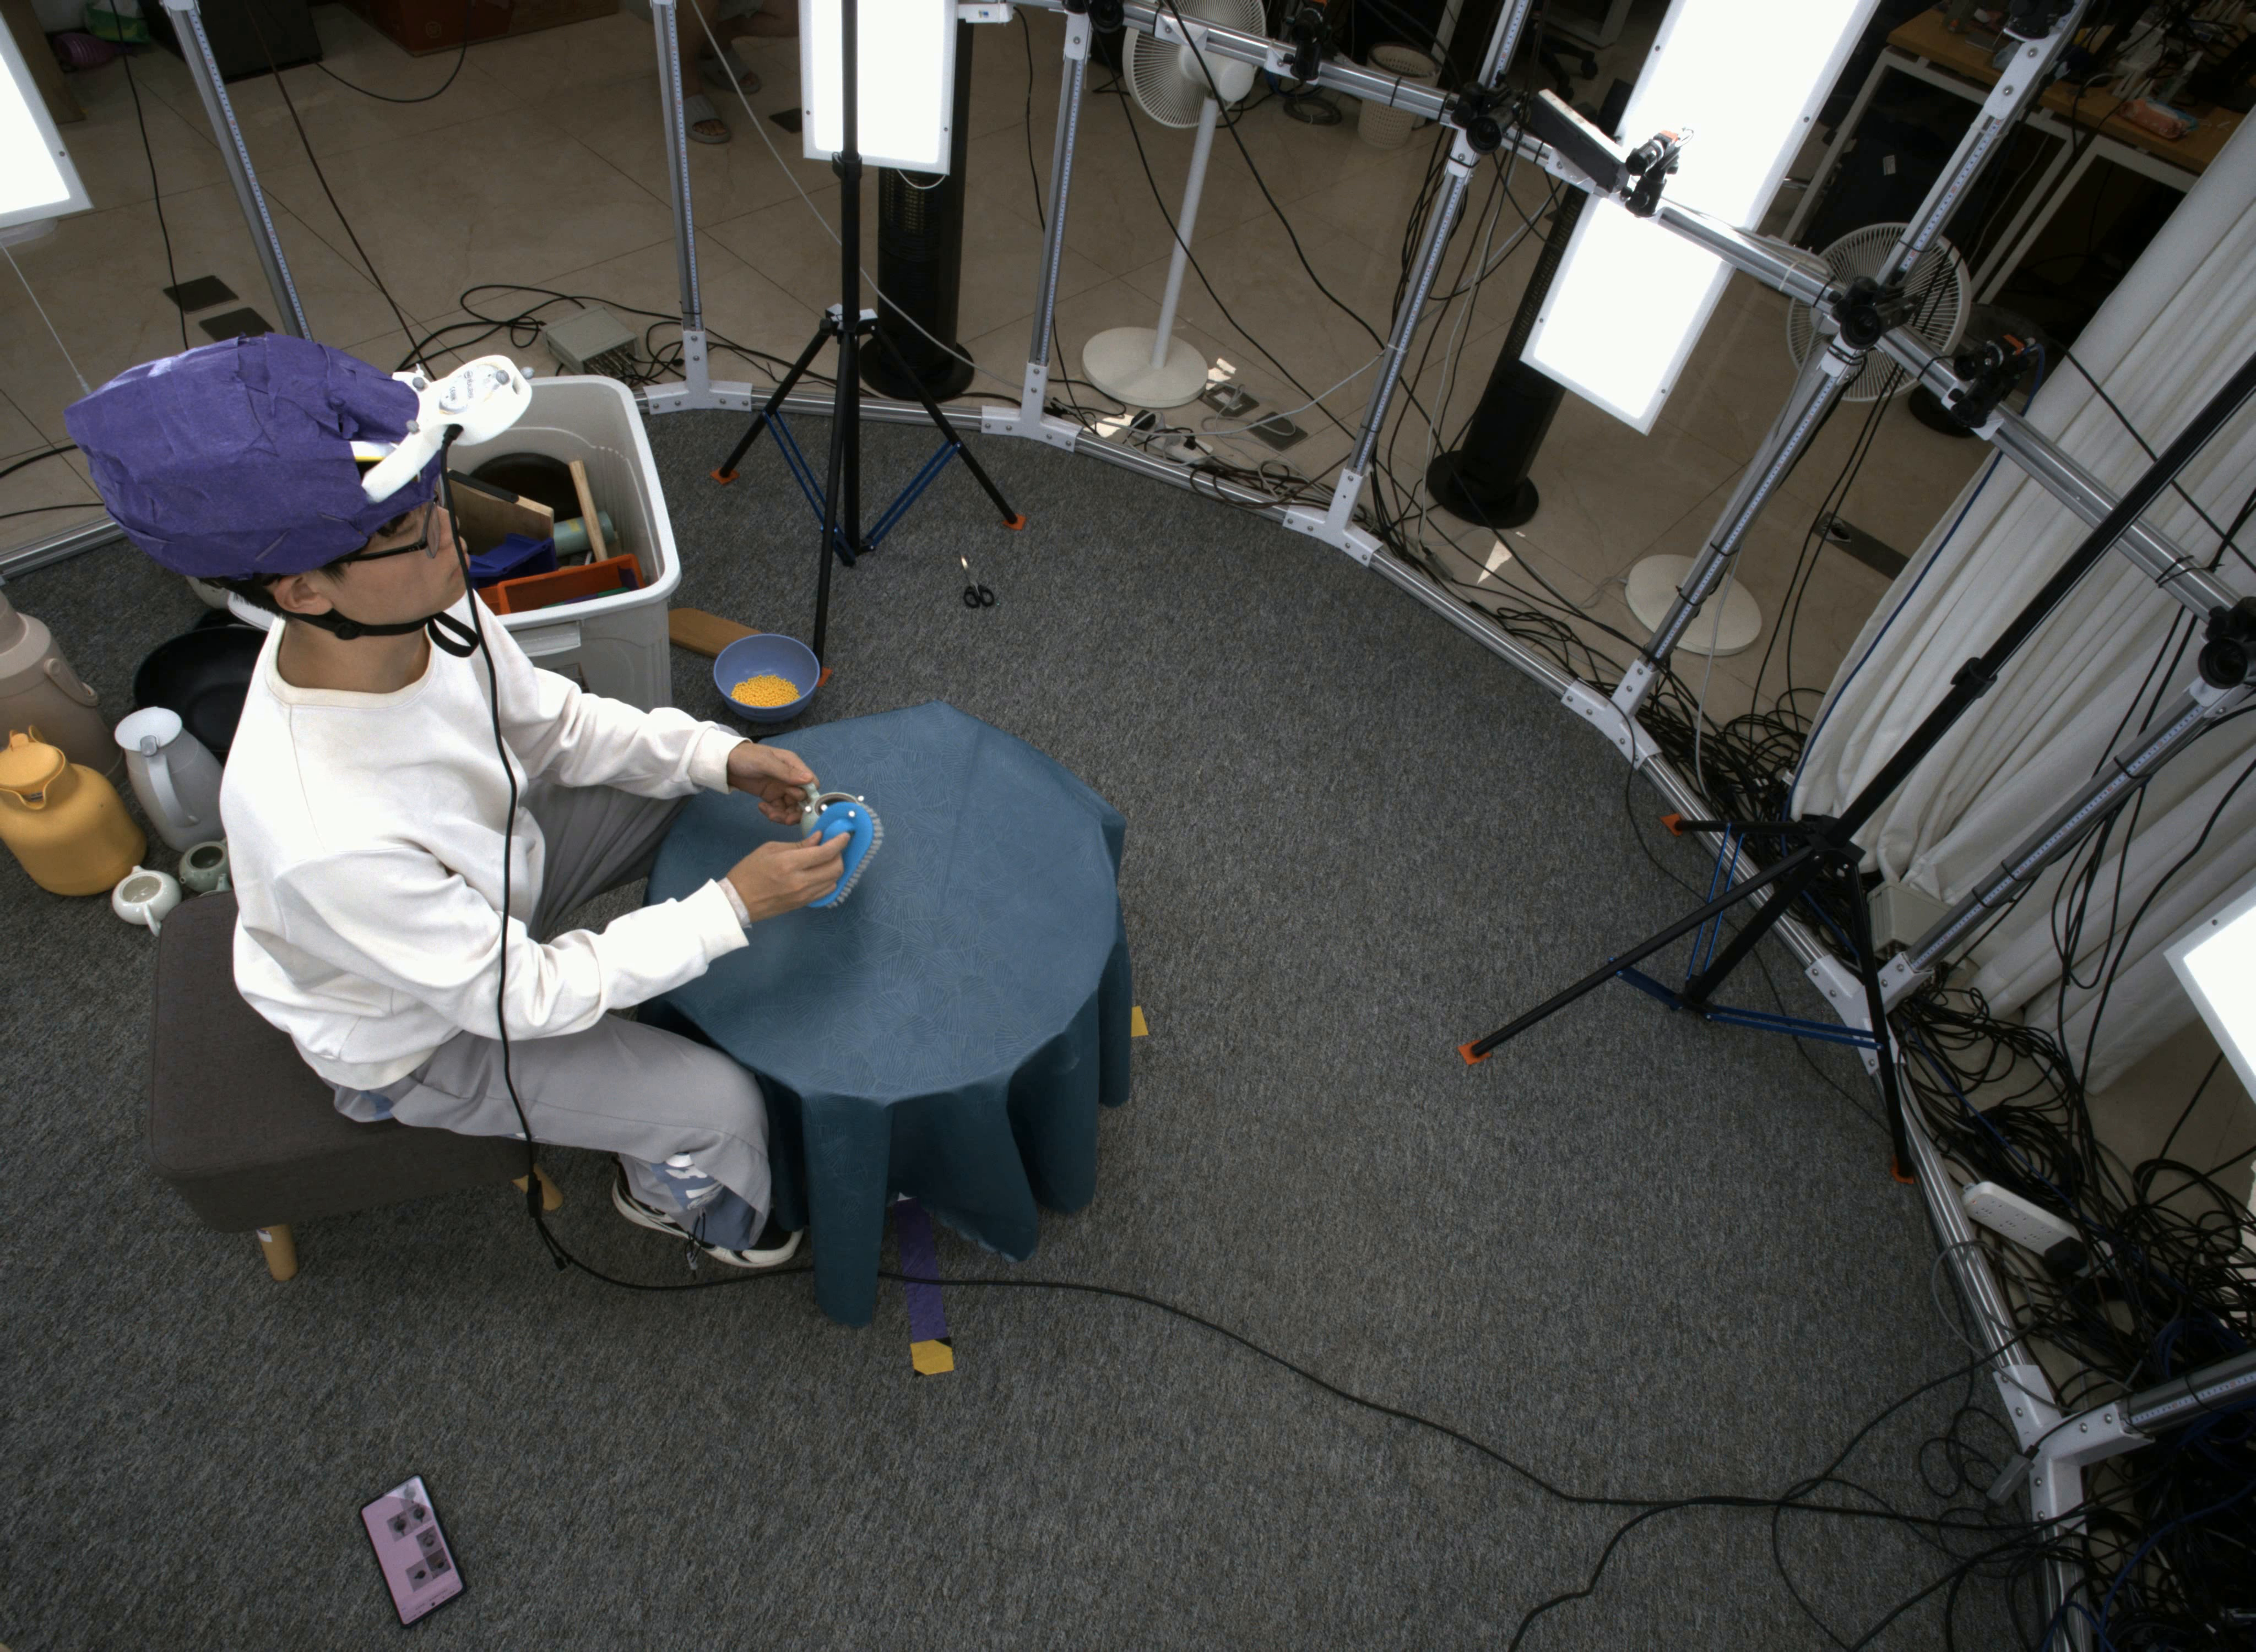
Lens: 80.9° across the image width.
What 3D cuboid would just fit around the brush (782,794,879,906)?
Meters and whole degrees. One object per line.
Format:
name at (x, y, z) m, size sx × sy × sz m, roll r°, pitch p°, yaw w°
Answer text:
brush at (-0.359, 0.030, 1.550) m, size 0.084 × 0.064 × 0.143 m, roll 32°, pitch 95°, yaw 2°

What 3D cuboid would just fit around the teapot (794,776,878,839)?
teapot at (-0.367, -0.002, 1.630) m, size 0.140 × 0.076 × 0.088 m, roll 36°, pitch 48°, yaw 19°
